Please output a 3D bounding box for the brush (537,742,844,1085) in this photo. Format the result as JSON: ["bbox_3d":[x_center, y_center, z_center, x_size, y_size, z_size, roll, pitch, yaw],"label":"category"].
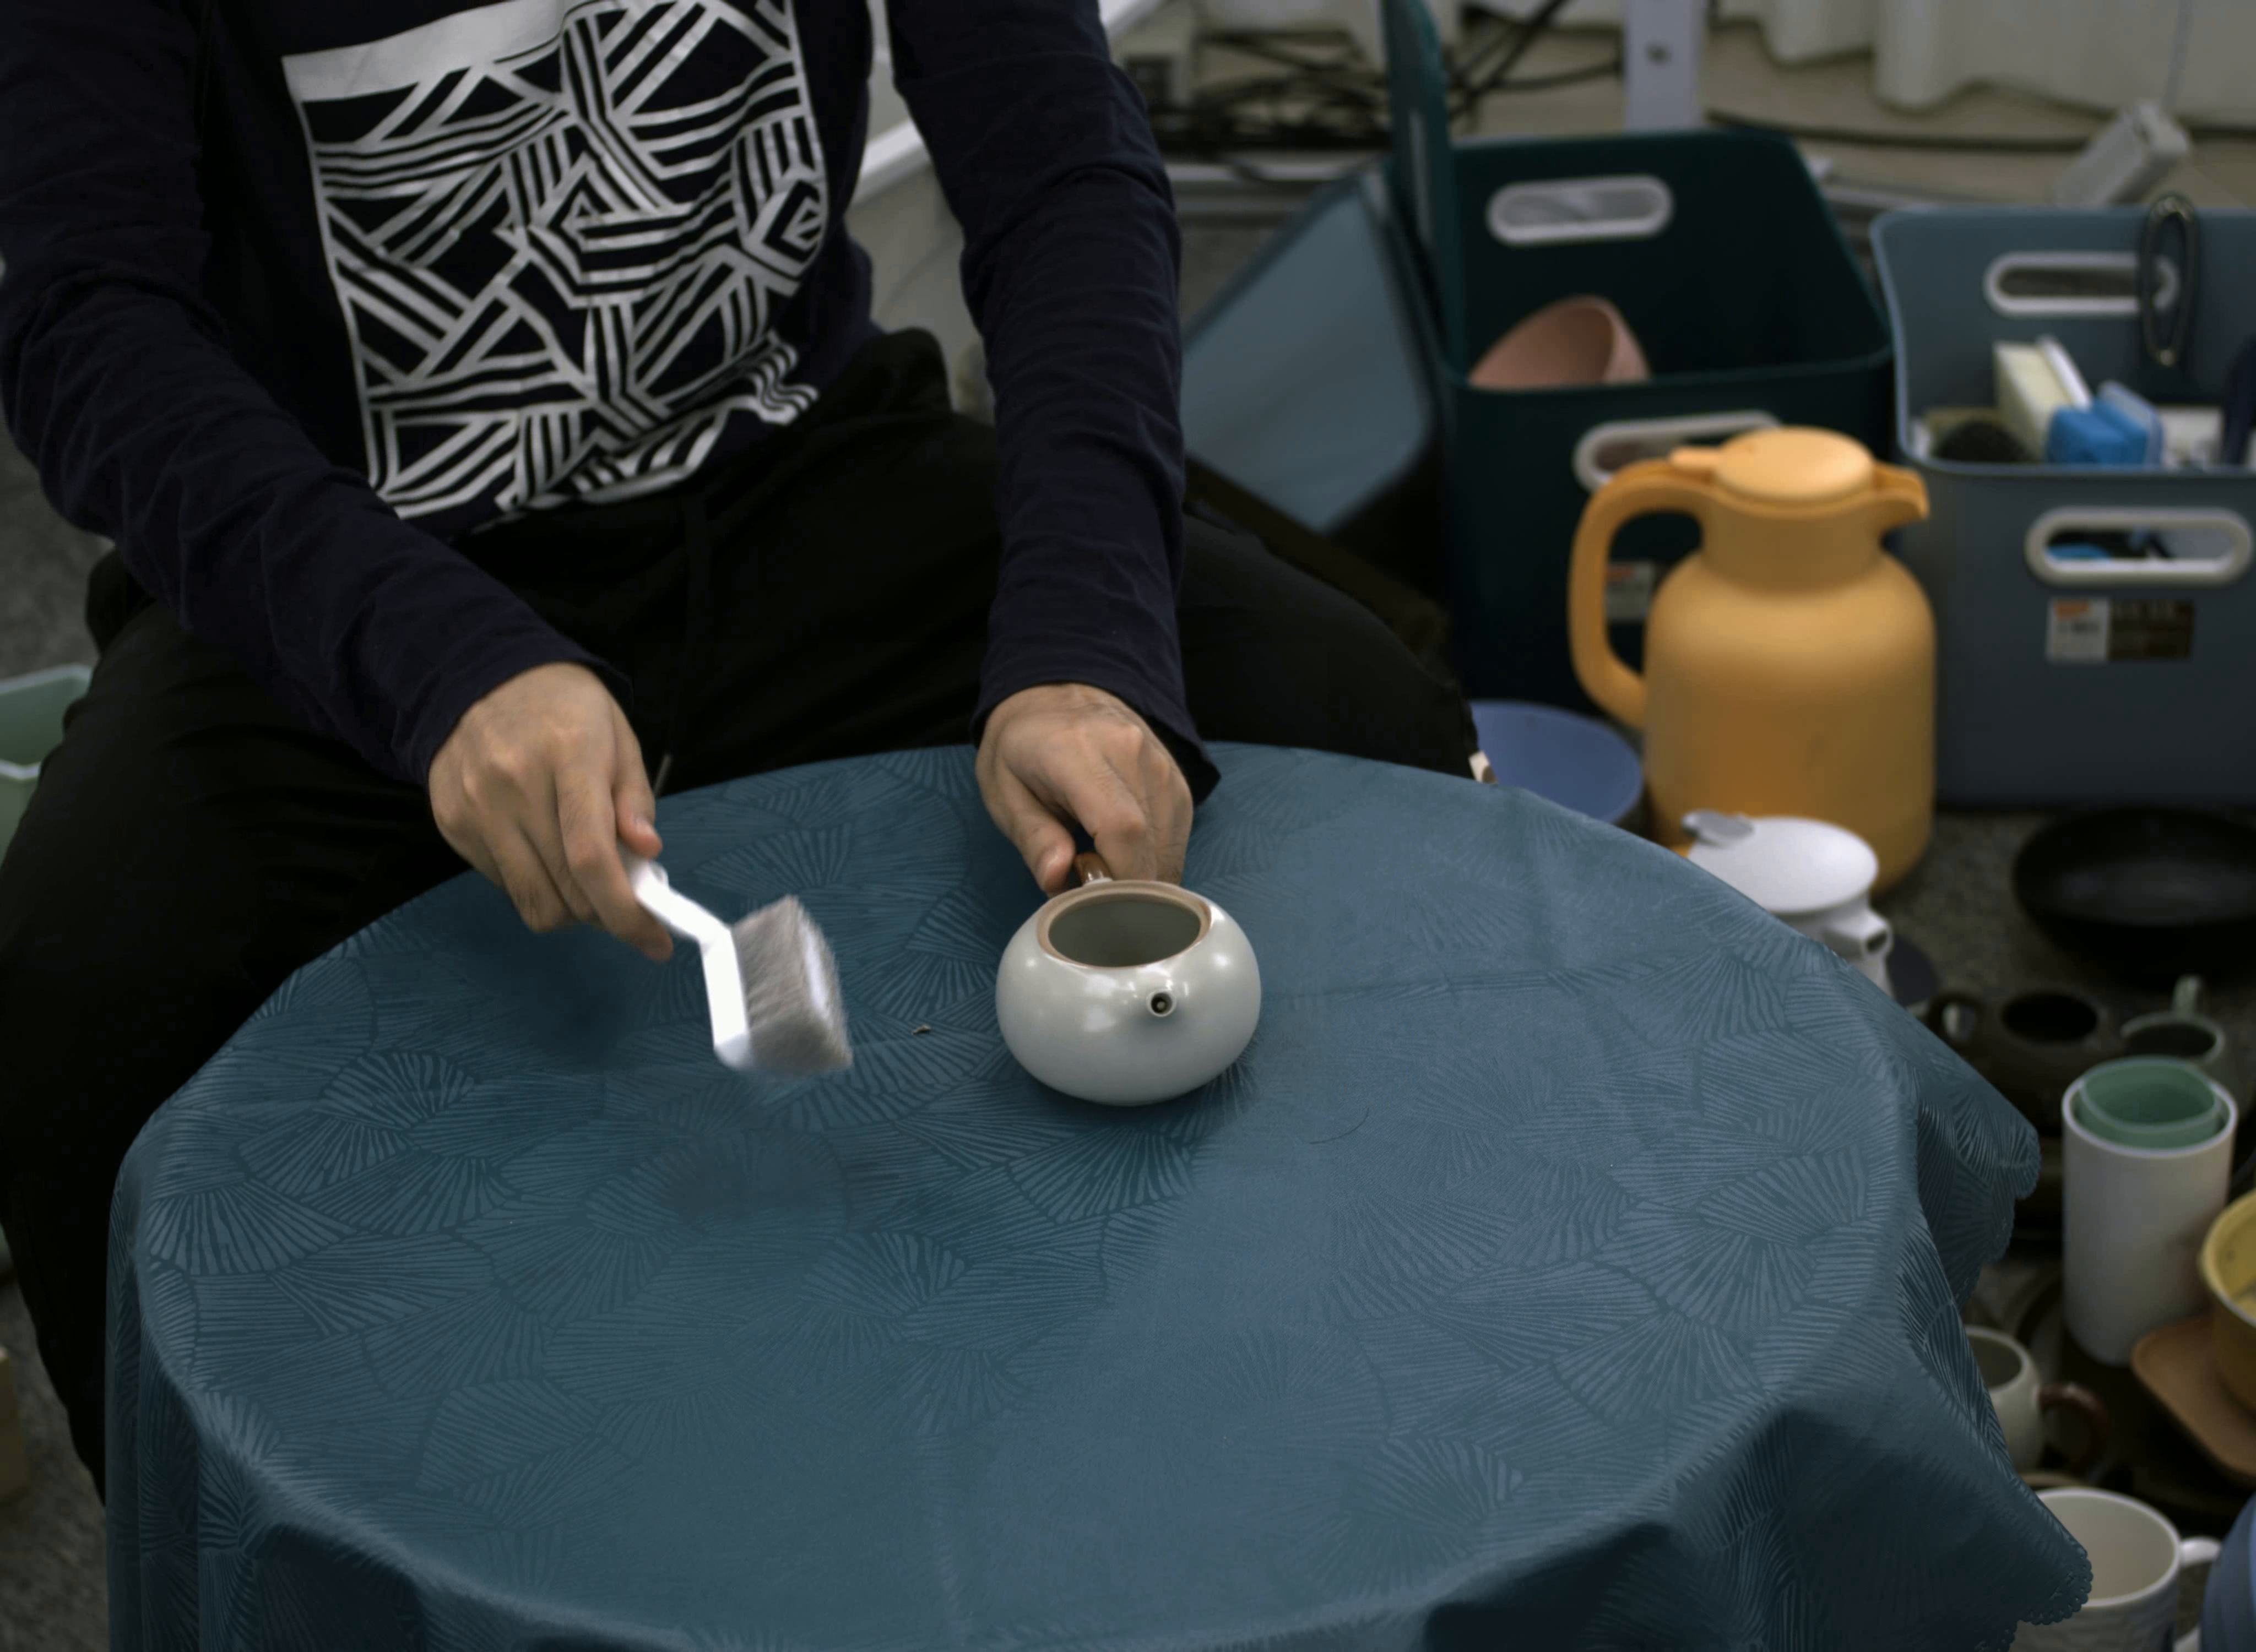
[{"bbox_3d":[-0.149,0.015,1.923,0.050,0.034,0.245,-42,34,1],"label":"brush"}]

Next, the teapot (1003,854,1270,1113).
[{"bbox_3d":[0.000,0.055,1.928,0.092,0.059,0.129,-13,30,-11],"label":"teapot"}]
